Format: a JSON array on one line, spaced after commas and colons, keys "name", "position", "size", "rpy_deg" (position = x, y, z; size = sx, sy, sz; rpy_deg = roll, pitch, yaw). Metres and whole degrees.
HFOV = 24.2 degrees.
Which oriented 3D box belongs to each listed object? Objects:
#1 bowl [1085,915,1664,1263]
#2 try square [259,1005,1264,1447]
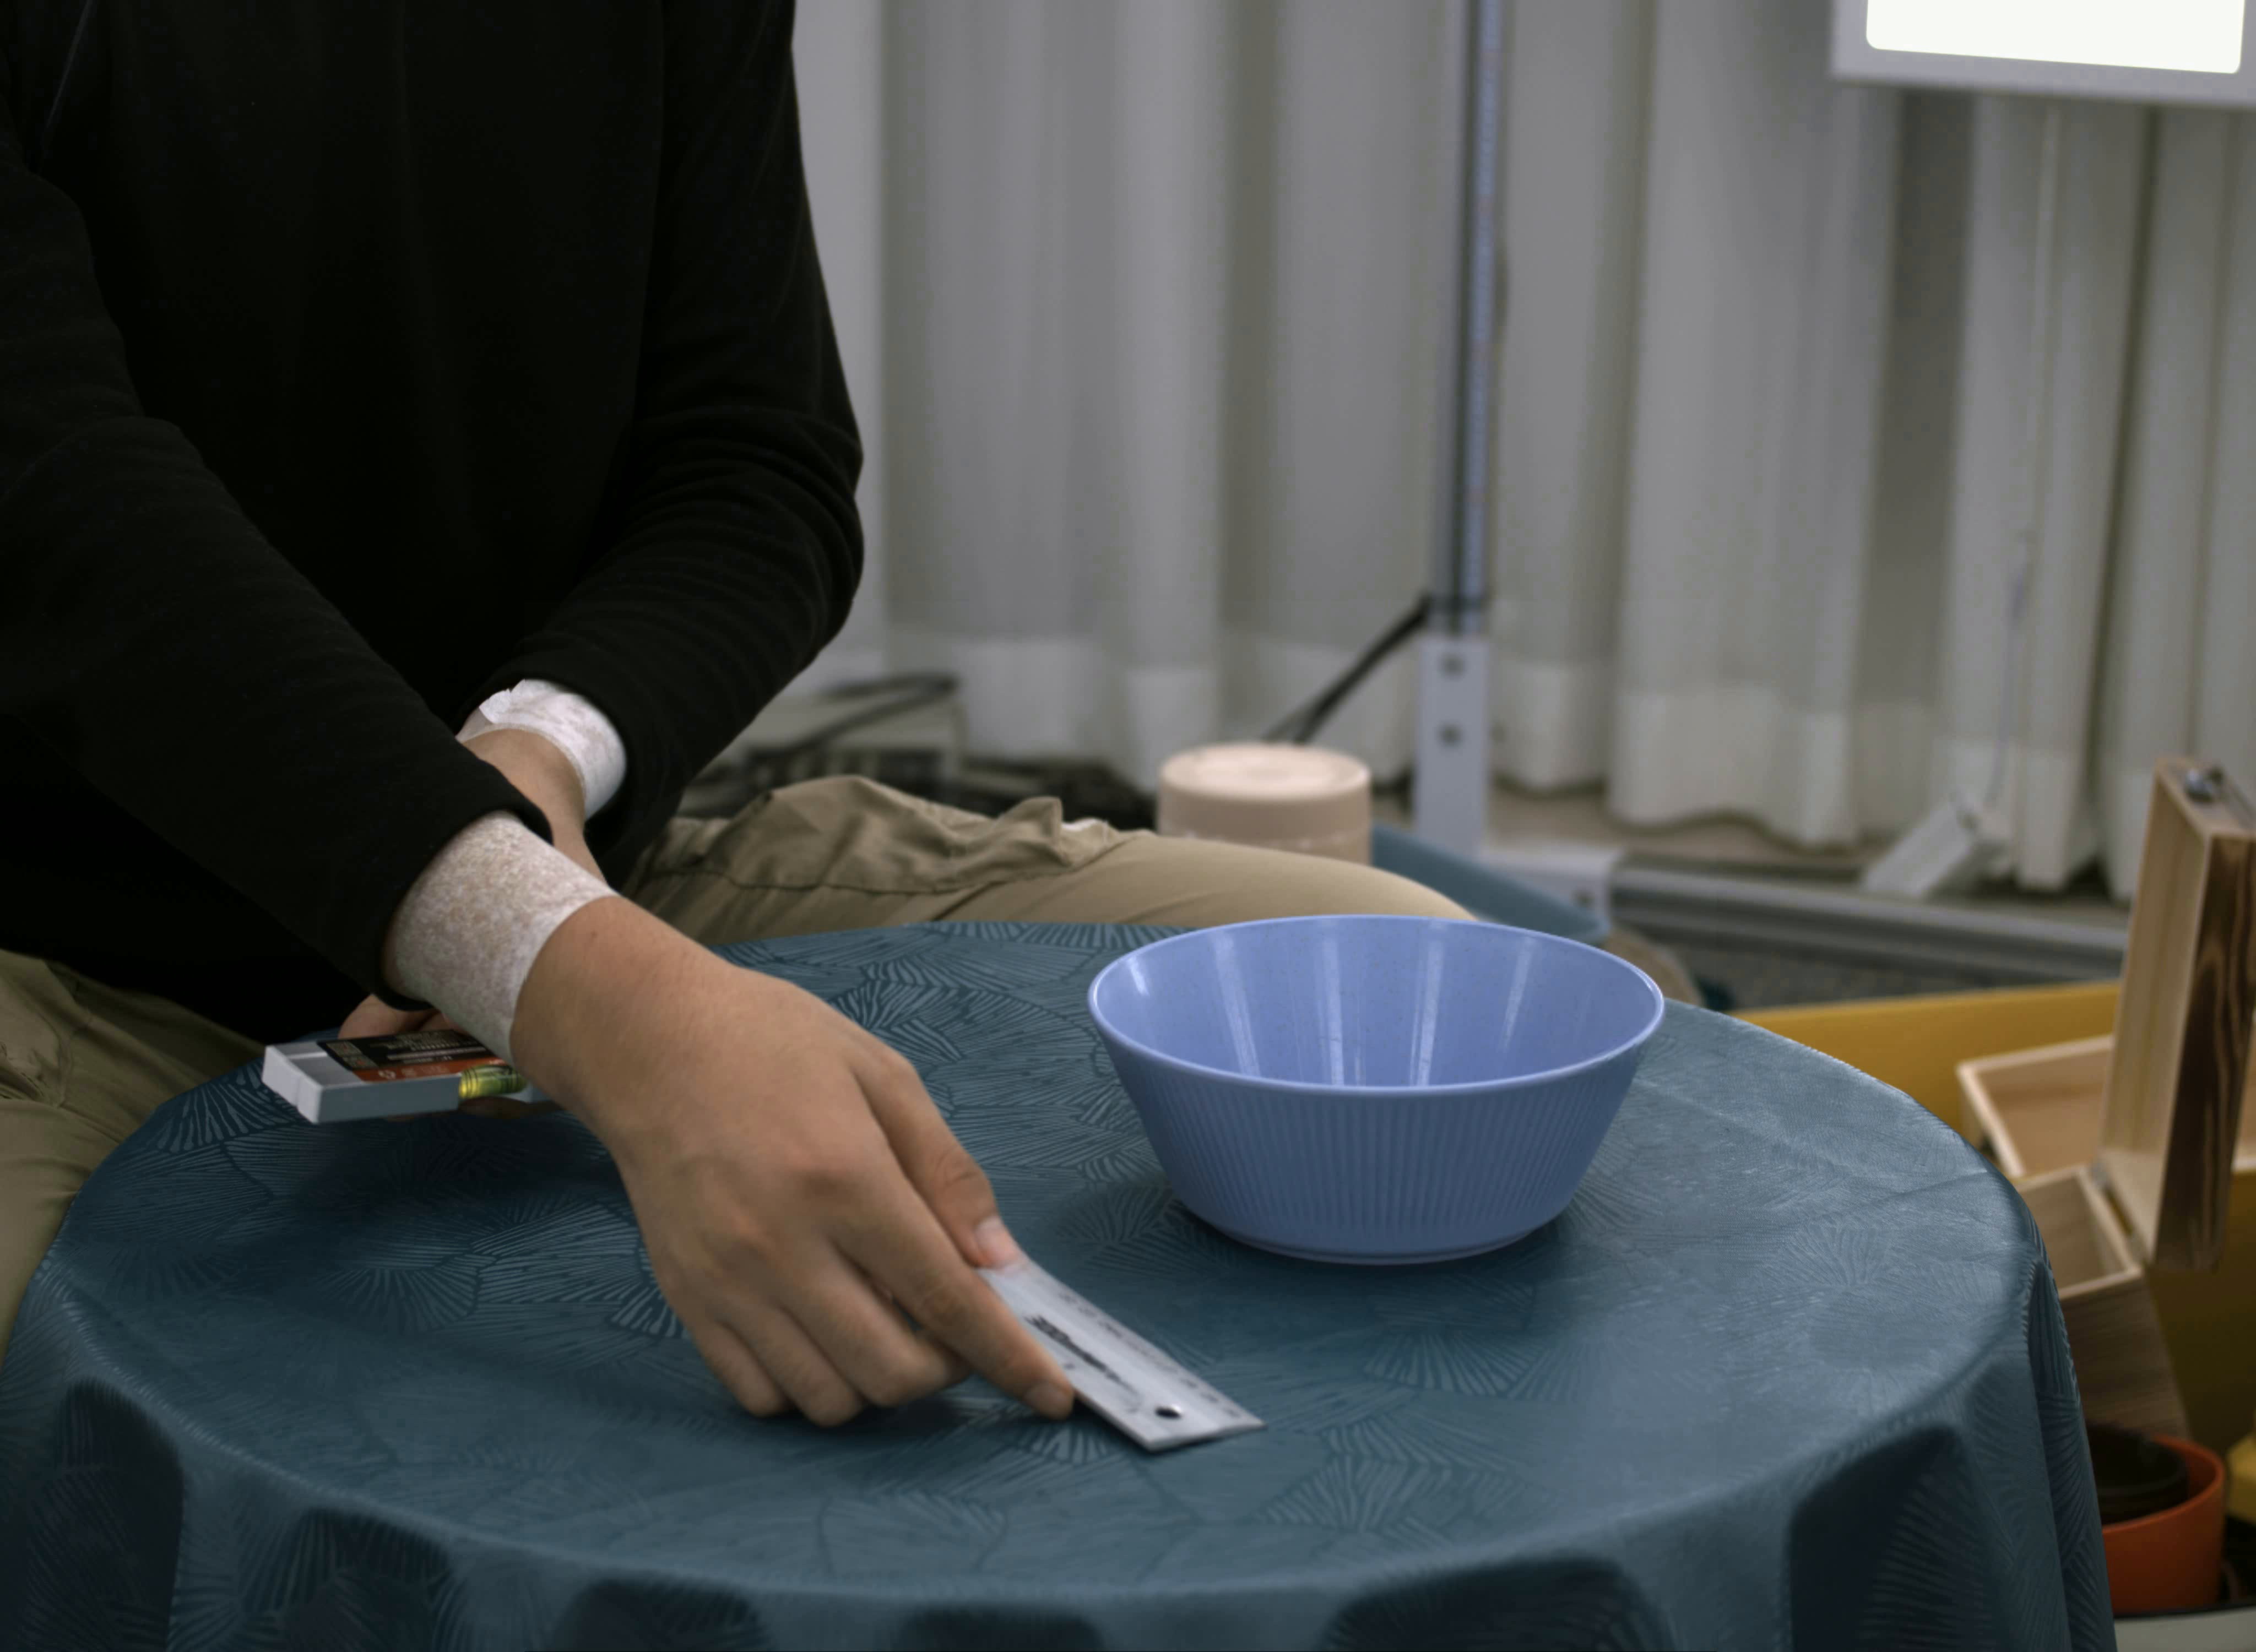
[{"name": "bowl", "position": [0.074, 0.082, 1.601], "size": [0.175, 0.071, 0.175], "rpy_deg": [0, 16, 0]}, {"name": "try square", "position": [-0.112, 0.118, 1.506], "size": [0.153, 0.016, 0.308], "rpy_deg": [-7, 24, -35]}]
